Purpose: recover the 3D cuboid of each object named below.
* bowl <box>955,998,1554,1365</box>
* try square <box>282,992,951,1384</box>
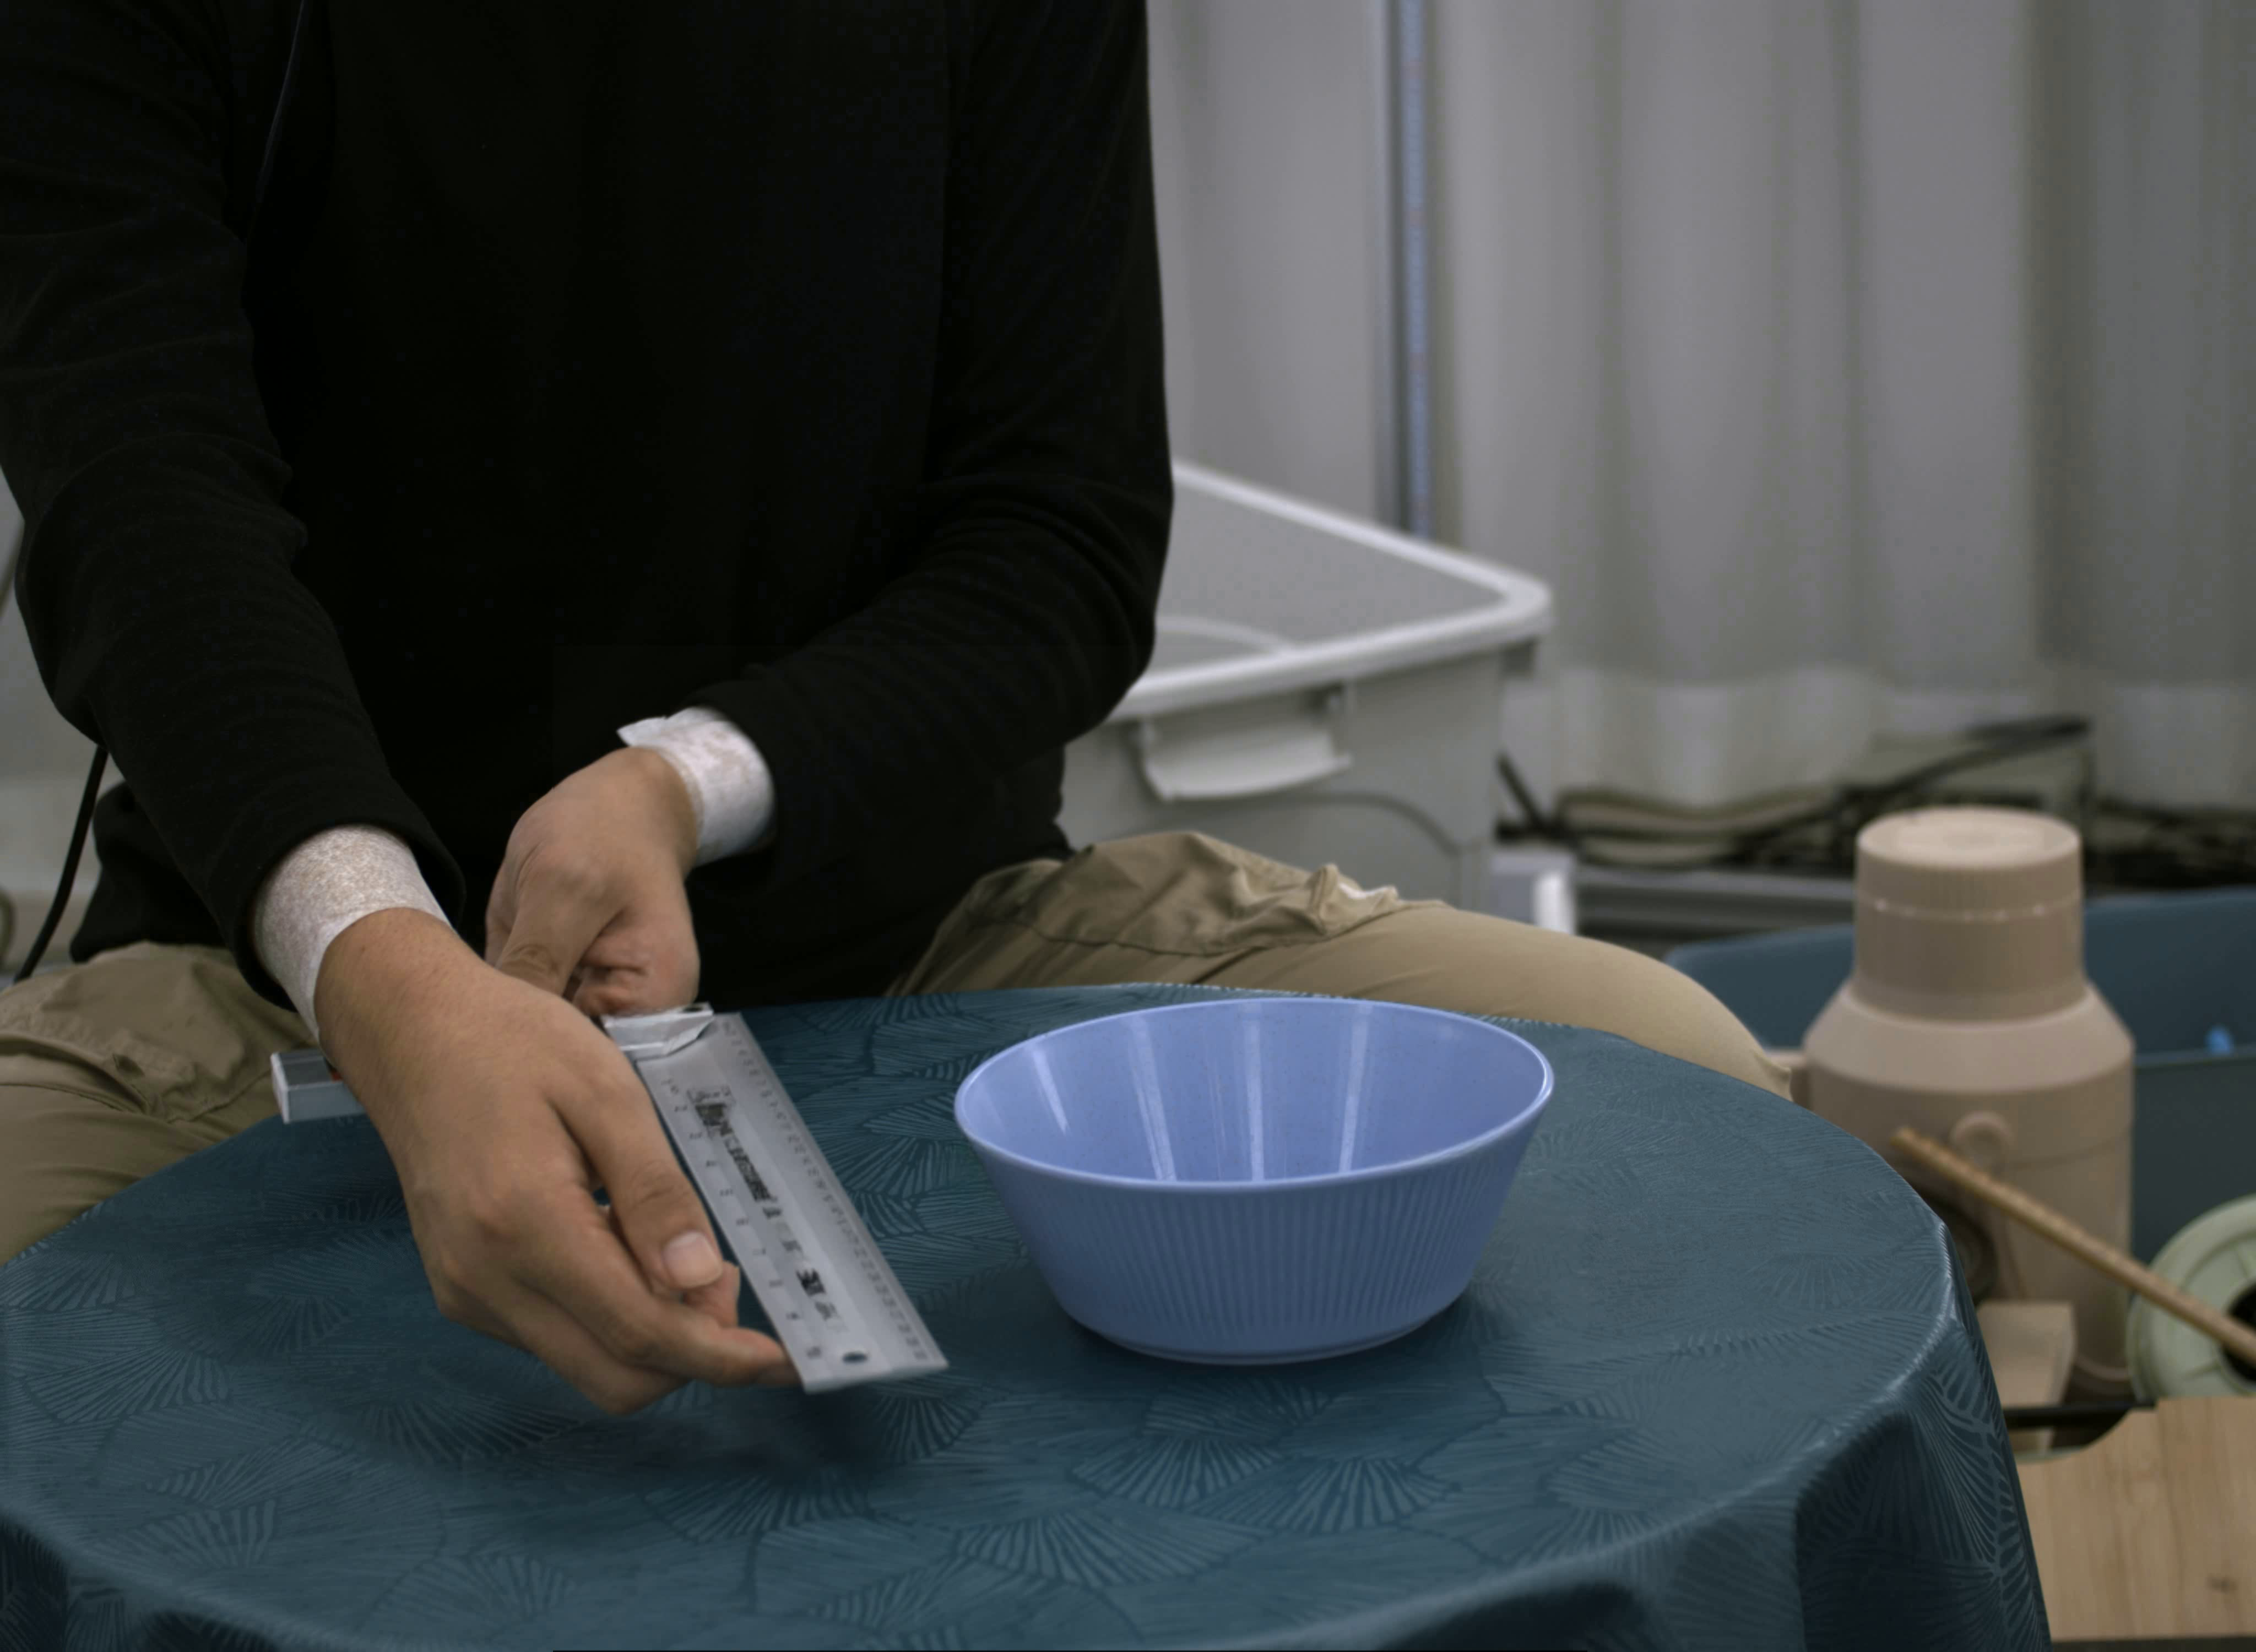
[{"bbox_3d":[0.038,0.107,1.602,0.175,0.070,0.177,-3,15,1],"label":"bowl"},{"bbox_3d":[-0.158,0.112,1.606,0.152,0.016,0.315,-10,18,-11],"label":"try square"}]
